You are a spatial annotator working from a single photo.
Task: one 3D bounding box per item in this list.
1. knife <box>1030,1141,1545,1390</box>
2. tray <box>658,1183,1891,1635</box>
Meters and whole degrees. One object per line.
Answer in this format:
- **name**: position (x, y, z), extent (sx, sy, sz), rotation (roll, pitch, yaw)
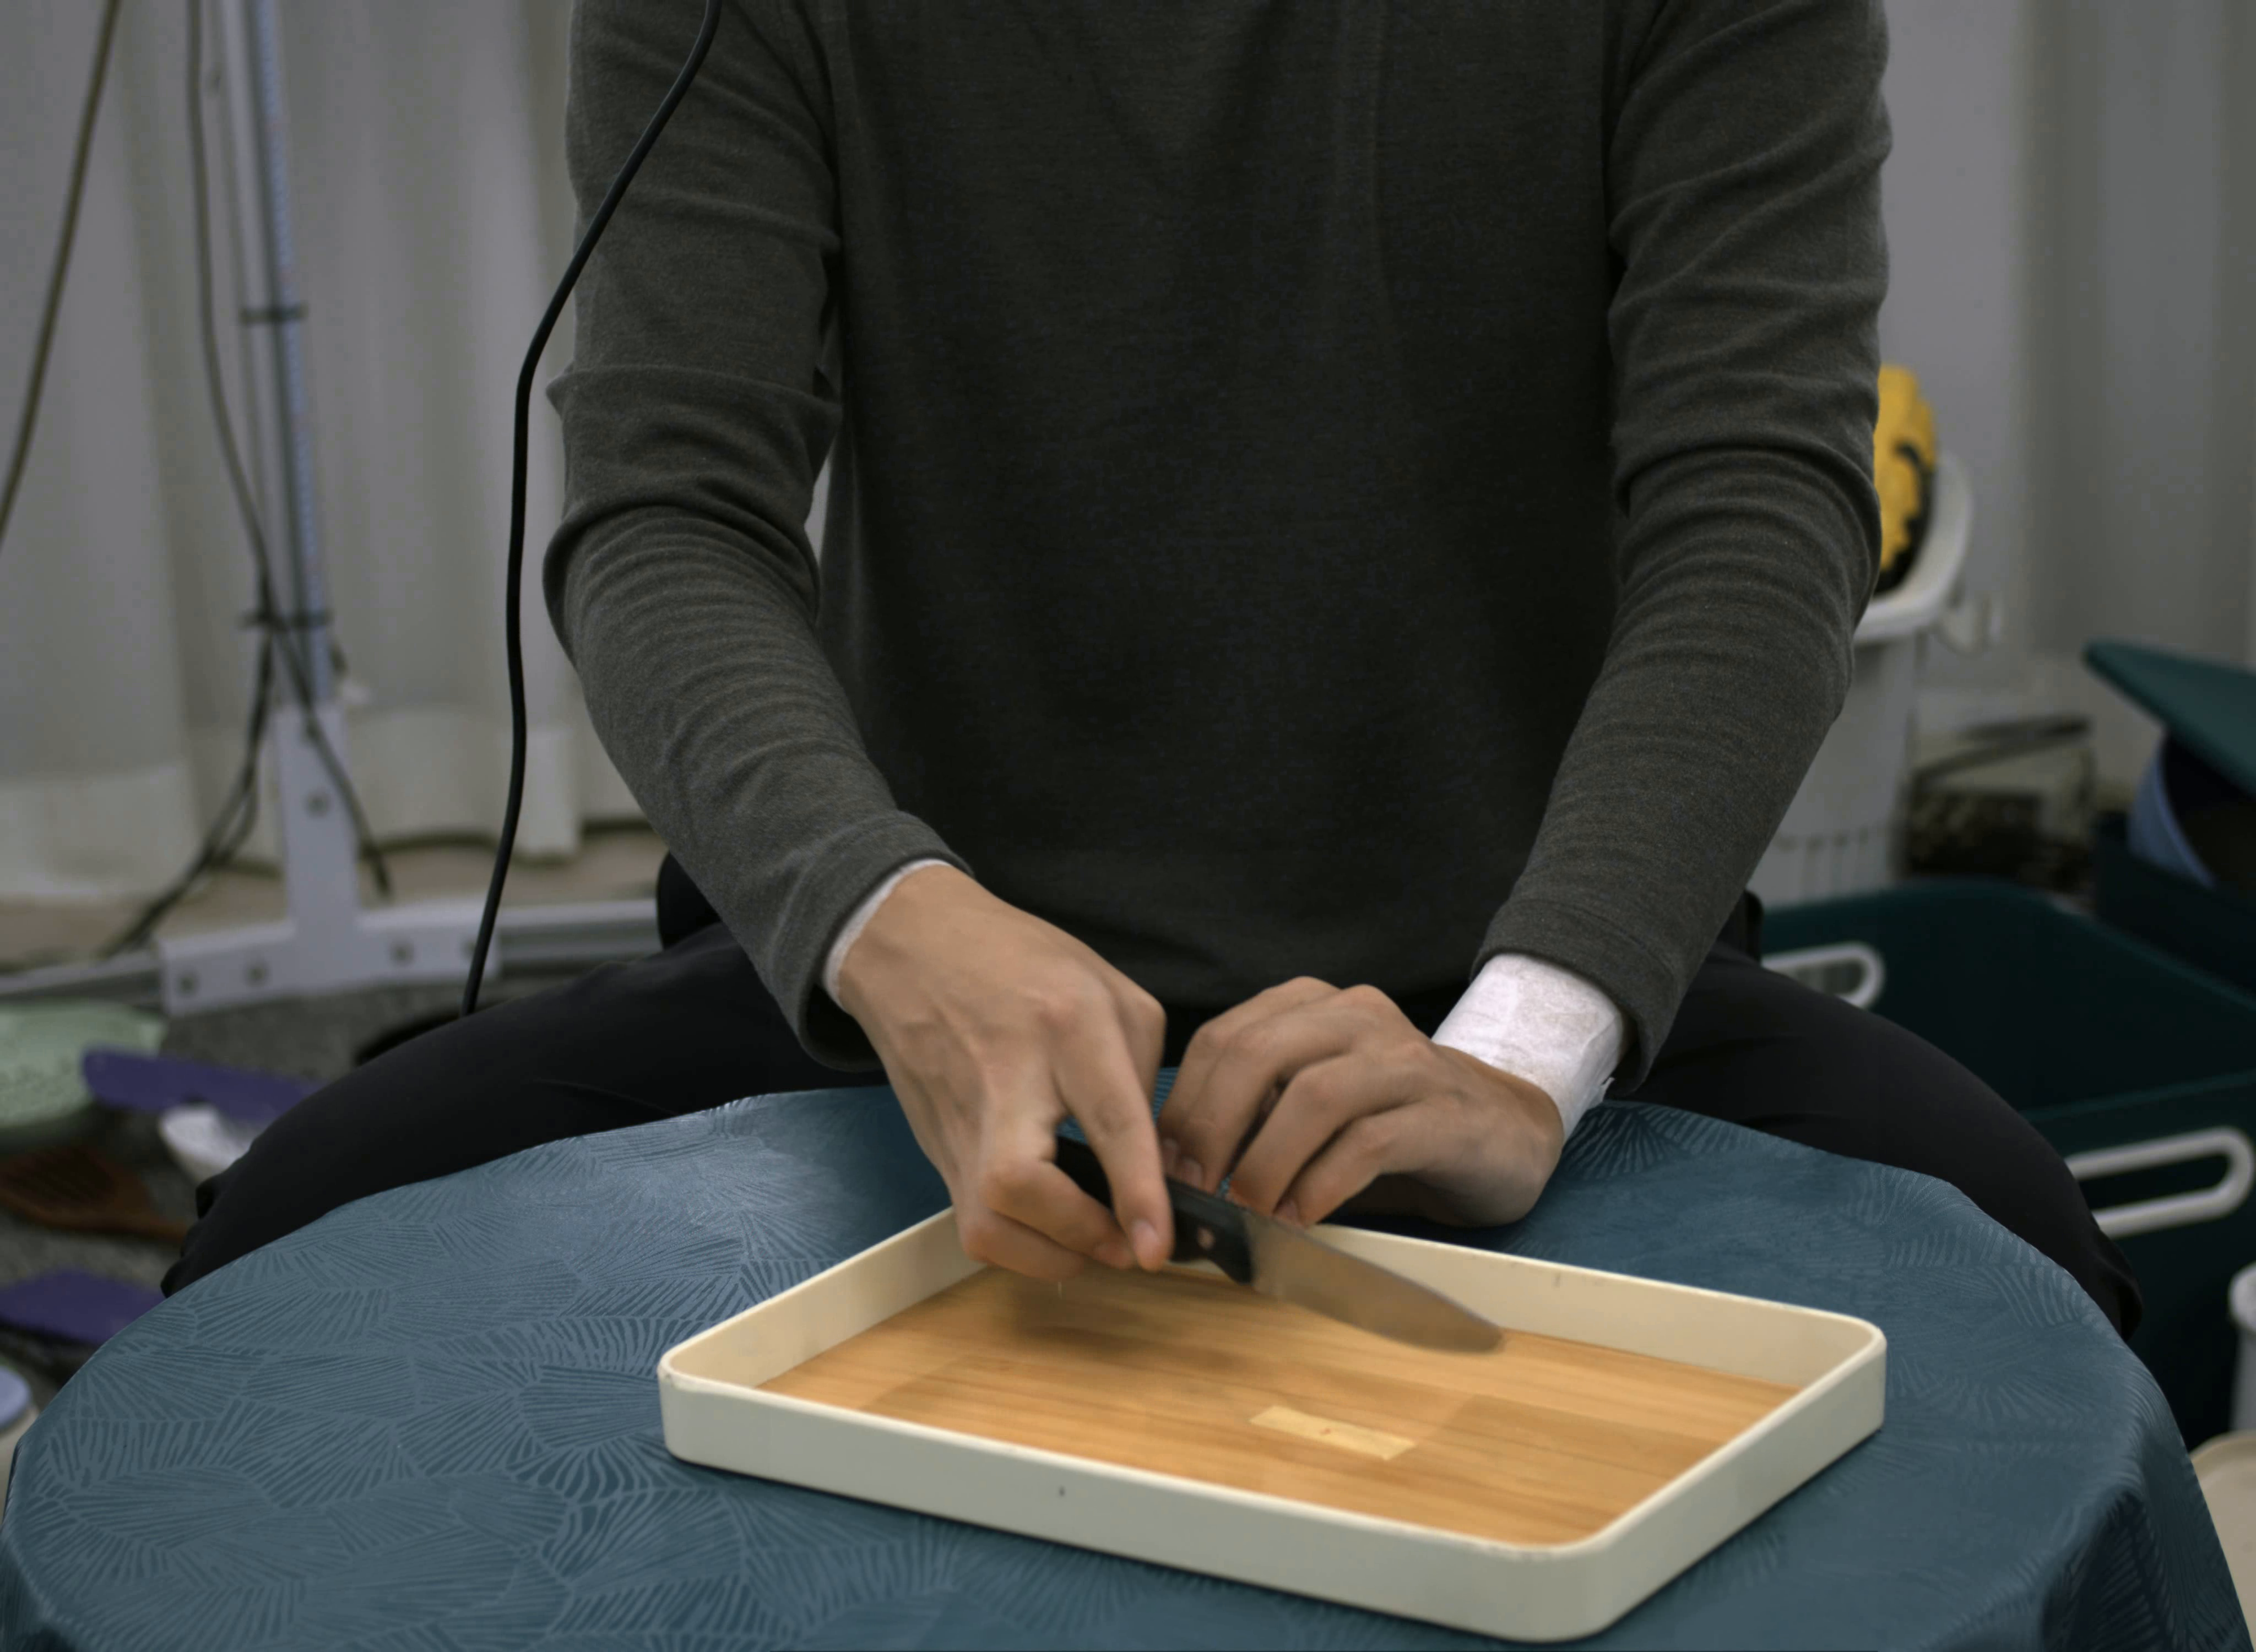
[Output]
- **knife**: position (0.042, 0.121, 1.520), extent (0.016, 0.024, 0.240), rotation (-12, 17, -32)
- **tray**: position (0.039, 0.156, 1.504), extent (0.301, 0.027, 0.191), rotation (8, 17, 34)
